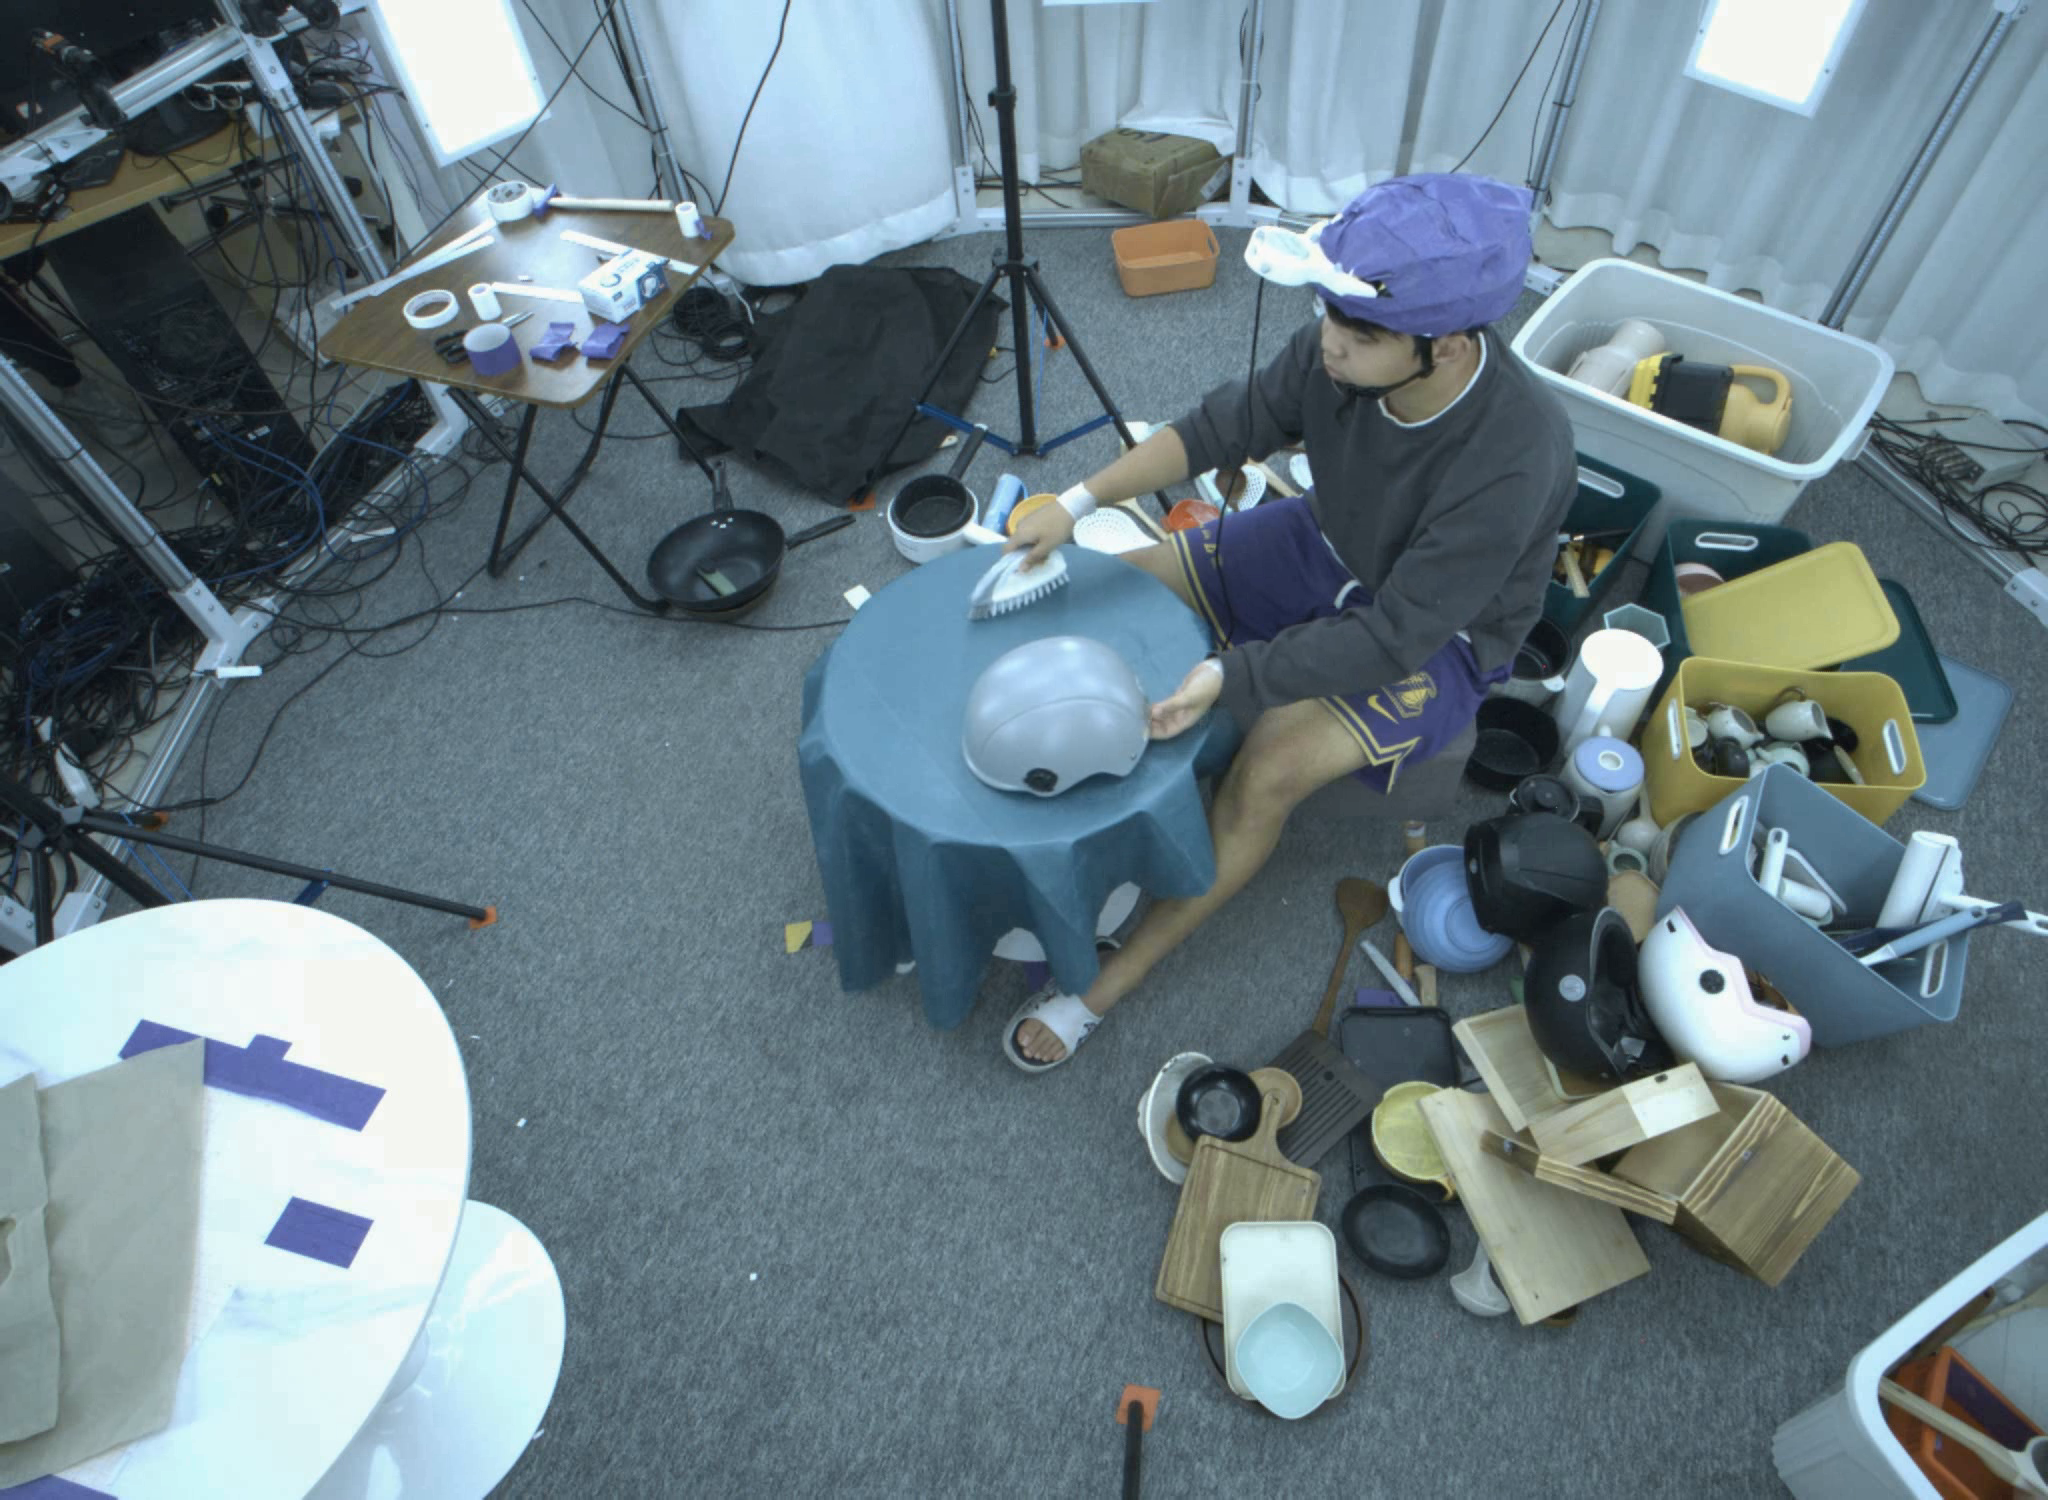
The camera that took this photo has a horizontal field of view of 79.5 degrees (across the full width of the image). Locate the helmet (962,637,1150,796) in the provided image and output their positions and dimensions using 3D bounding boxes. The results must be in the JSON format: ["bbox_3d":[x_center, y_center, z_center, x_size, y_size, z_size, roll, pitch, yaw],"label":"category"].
[{"bbox_3d":[0.039,-0.067,1.736,0.277,0.171,0.229,-9,52,-1],"label":"helmet"}]

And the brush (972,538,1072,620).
[{"bbox_3d":[-0.012,-0.273,1.926,0.176,0.095,0.060,-30,55,-13],"label":"brush"}]
